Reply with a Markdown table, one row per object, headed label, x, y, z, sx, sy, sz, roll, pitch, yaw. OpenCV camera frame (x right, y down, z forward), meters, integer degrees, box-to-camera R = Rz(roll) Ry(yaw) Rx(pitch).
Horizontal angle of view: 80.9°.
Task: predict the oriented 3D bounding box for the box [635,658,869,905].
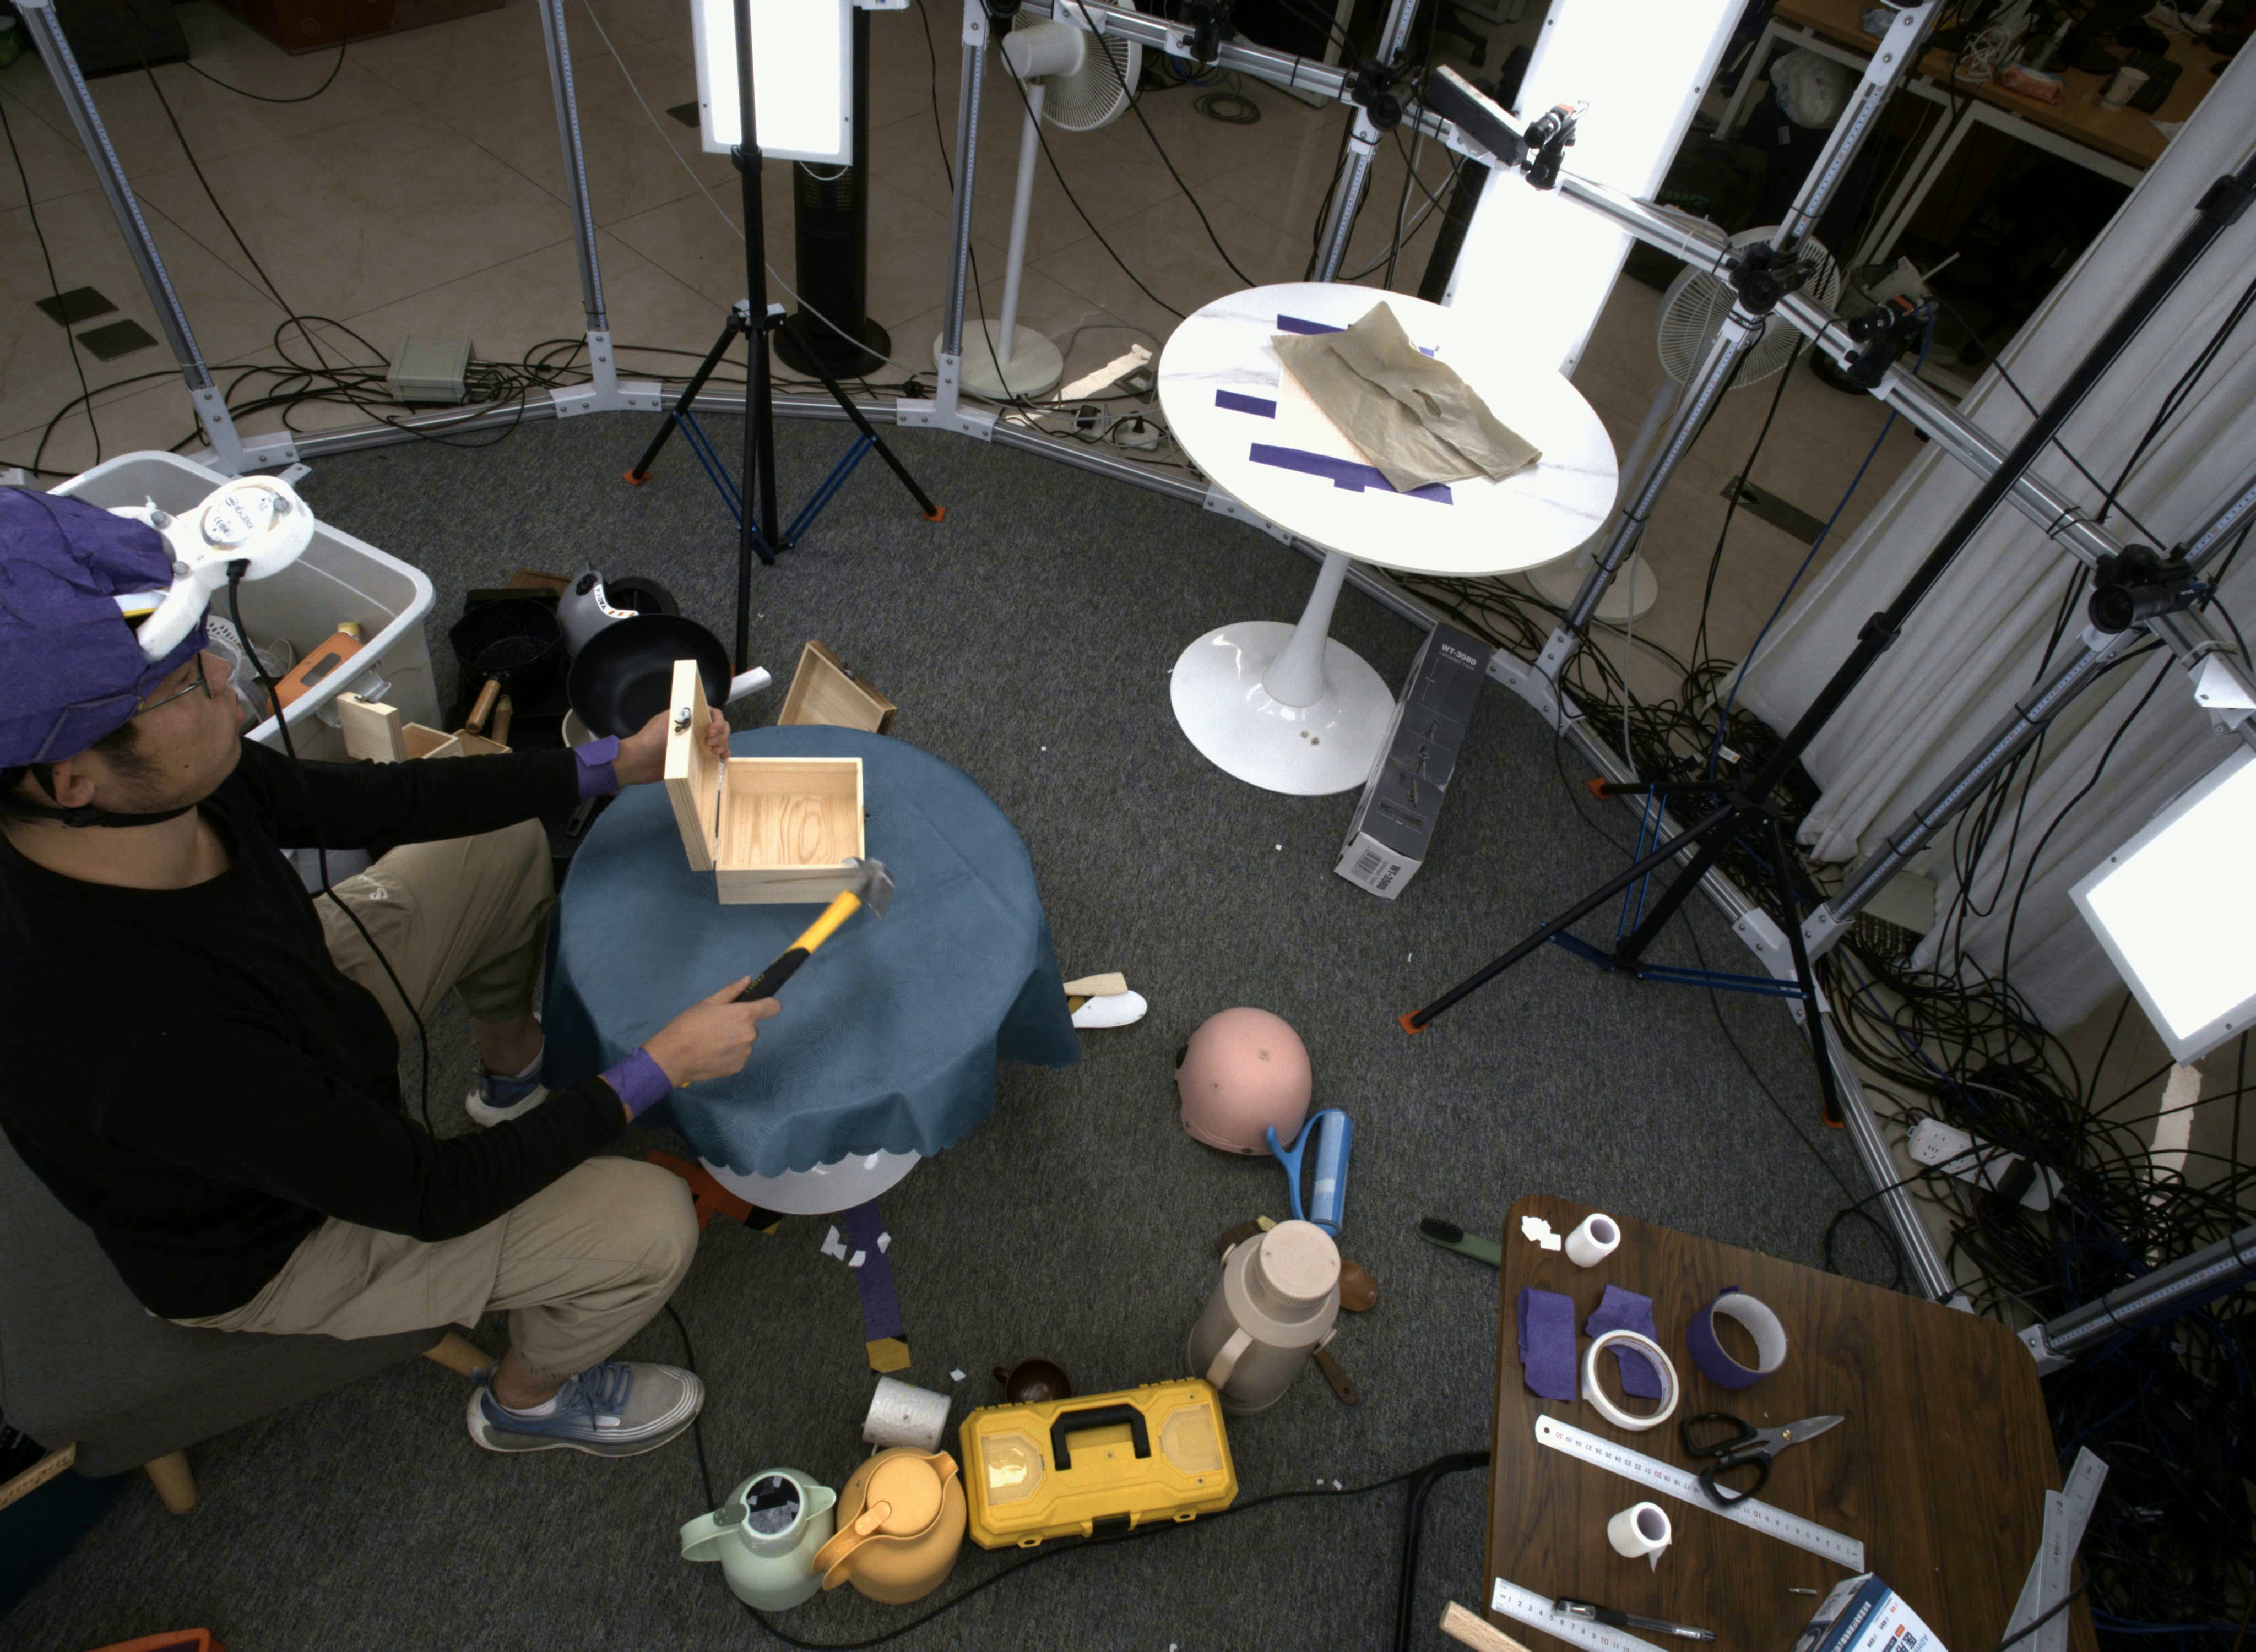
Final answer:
| label | x | y | z | sx | sy | sz | roll | pitch | yaw |
| --- | --- | --- | --- | --- | --- | --- | --- | --- | --- |
| box | -0.451 | -0.052 | 1.591 | 0.266 | 0.258 | 0.178 | -1 | 55 | -15 |

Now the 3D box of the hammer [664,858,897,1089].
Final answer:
| label | x | y | z | sx | sy | sz | roll | pitch | yaw |
| --- | --- | --- | --- | --- | --- | --- | --- | --- | --- |
| hammer | -0.396 | 0.163 | 1.475 | 0.338 | 0.033 | 0.127 | -46 | 31 | -21 |
